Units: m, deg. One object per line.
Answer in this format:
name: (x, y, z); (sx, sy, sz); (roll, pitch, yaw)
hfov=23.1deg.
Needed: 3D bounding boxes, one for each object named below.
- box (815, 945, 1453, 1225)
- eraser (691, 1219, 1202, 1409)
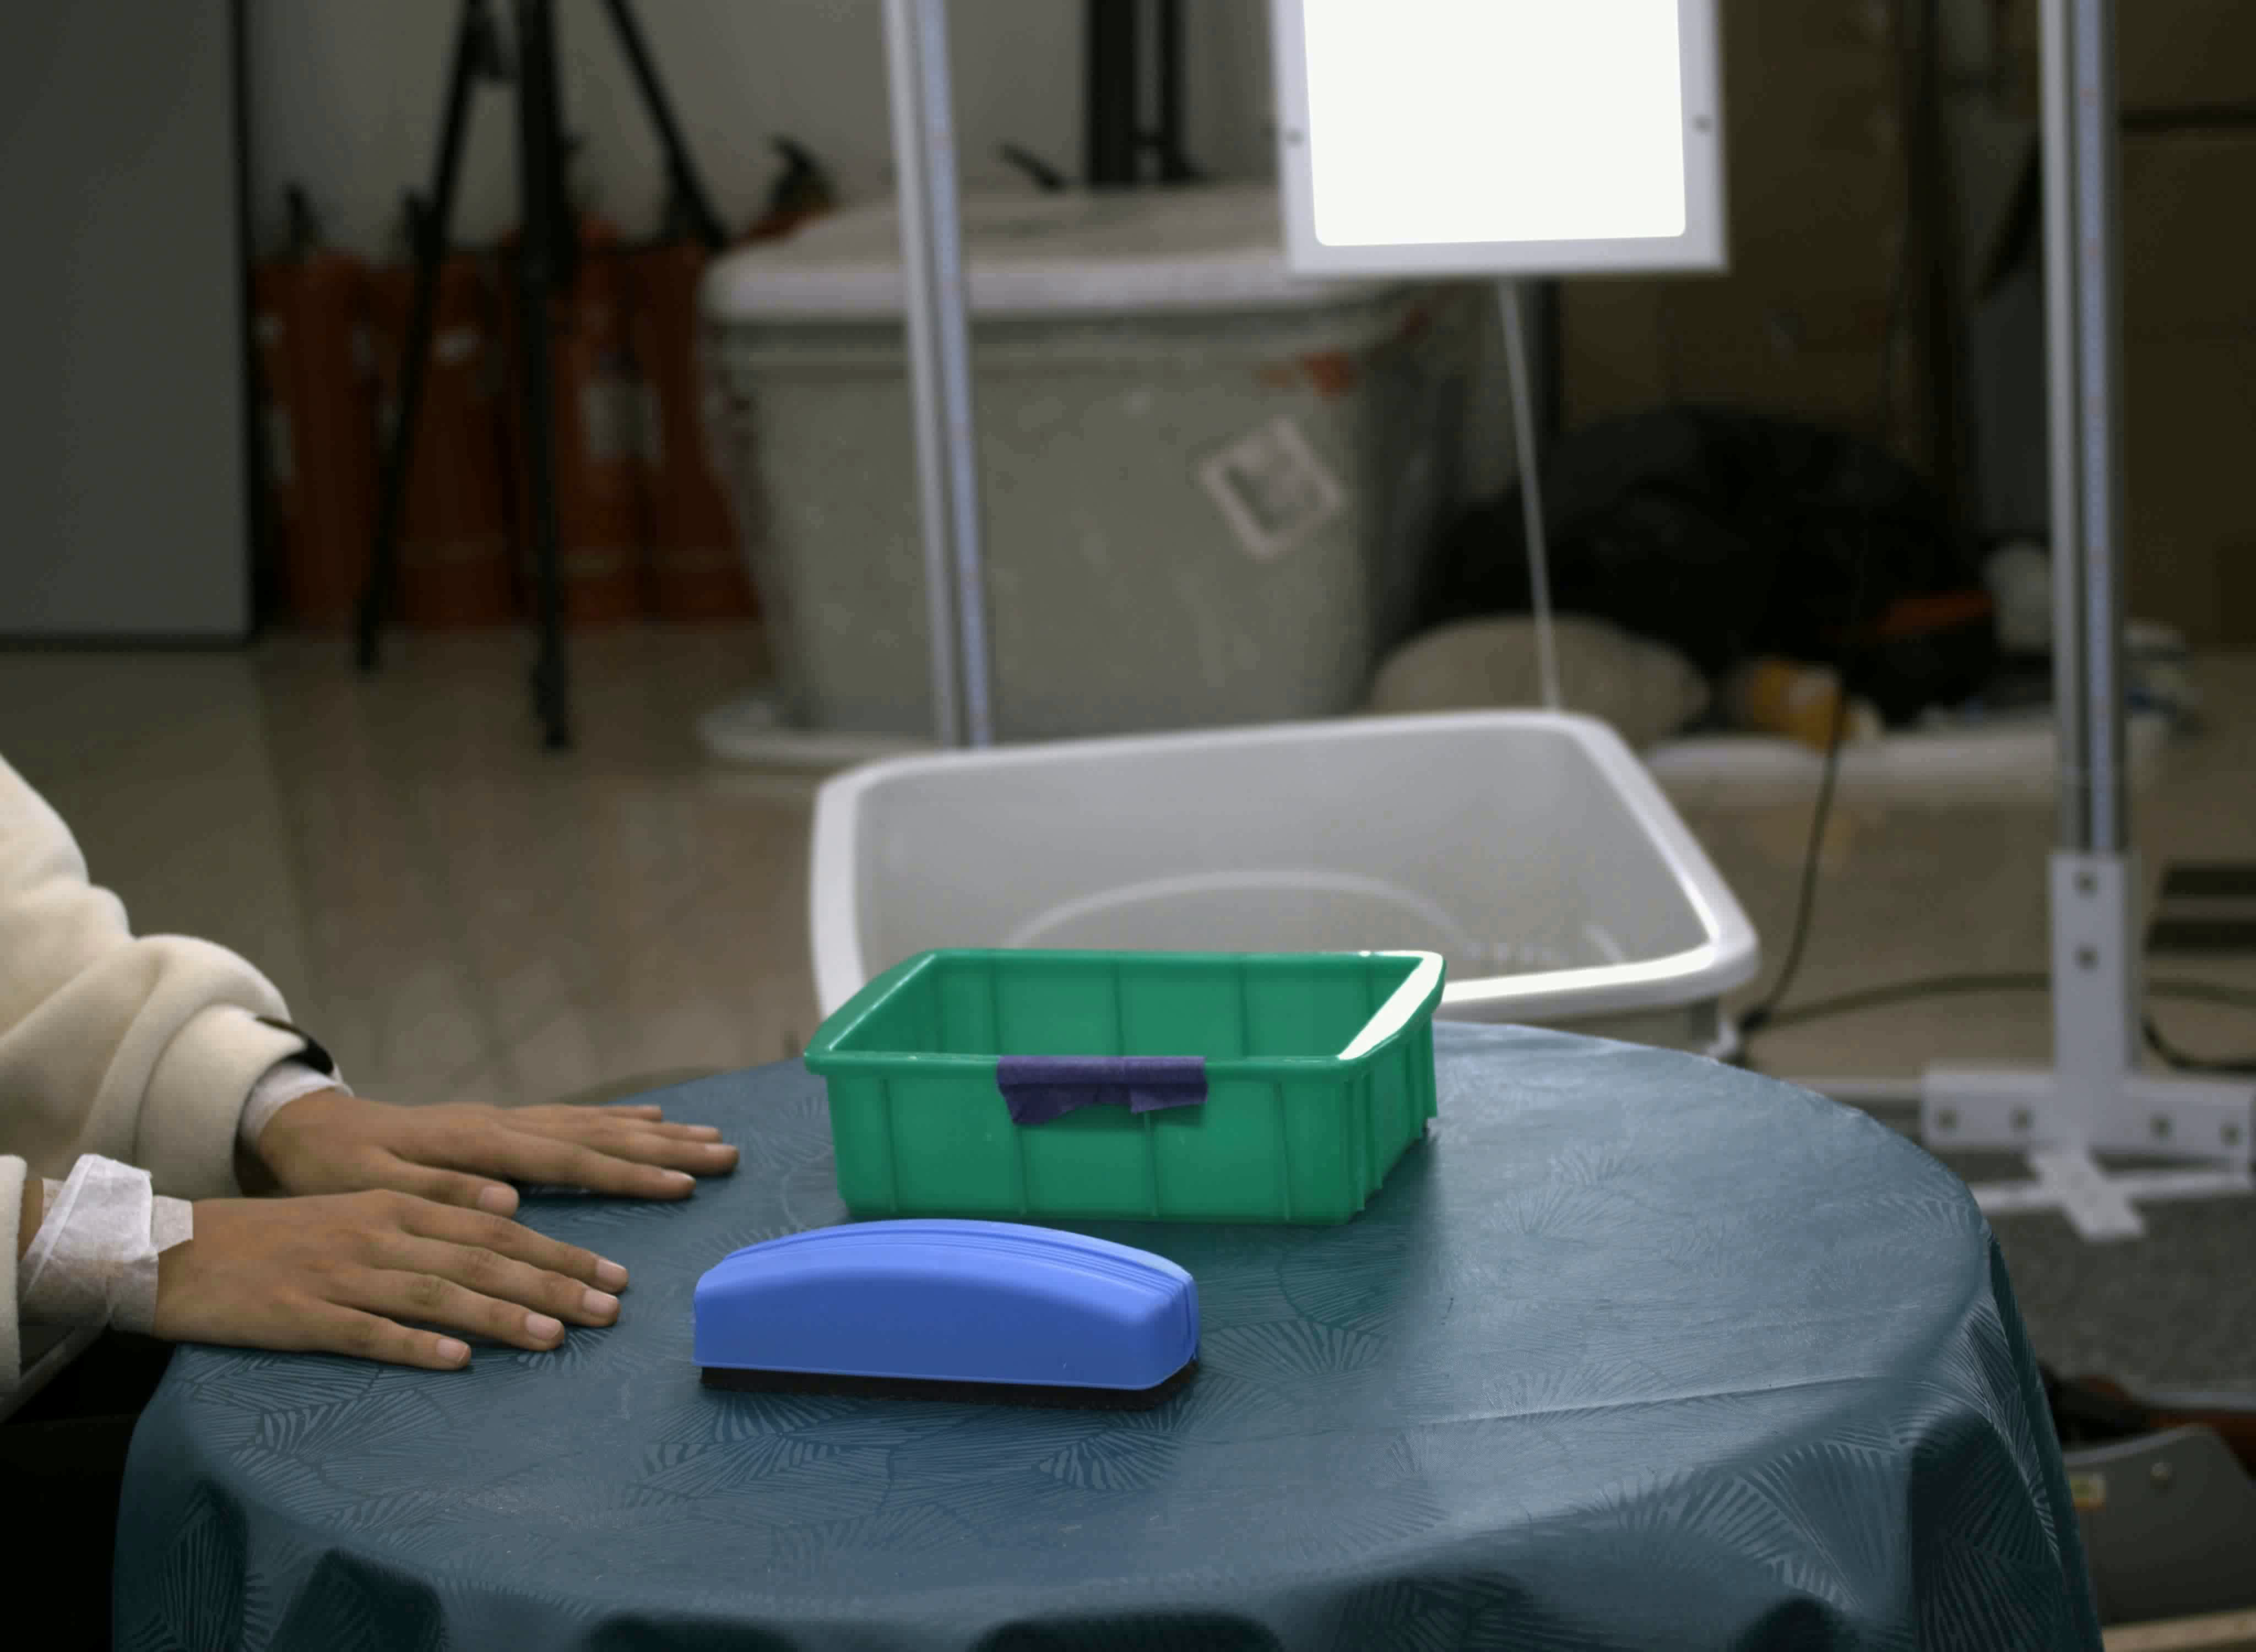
box: (0.006, 0.090, 1.917); (0.213, 0.065, 0.136); (0, 16, 18)
eraser: (-0.058, 0.150, 1.725); (0.164, 0.048, 0.053); (1, 15, 22)
